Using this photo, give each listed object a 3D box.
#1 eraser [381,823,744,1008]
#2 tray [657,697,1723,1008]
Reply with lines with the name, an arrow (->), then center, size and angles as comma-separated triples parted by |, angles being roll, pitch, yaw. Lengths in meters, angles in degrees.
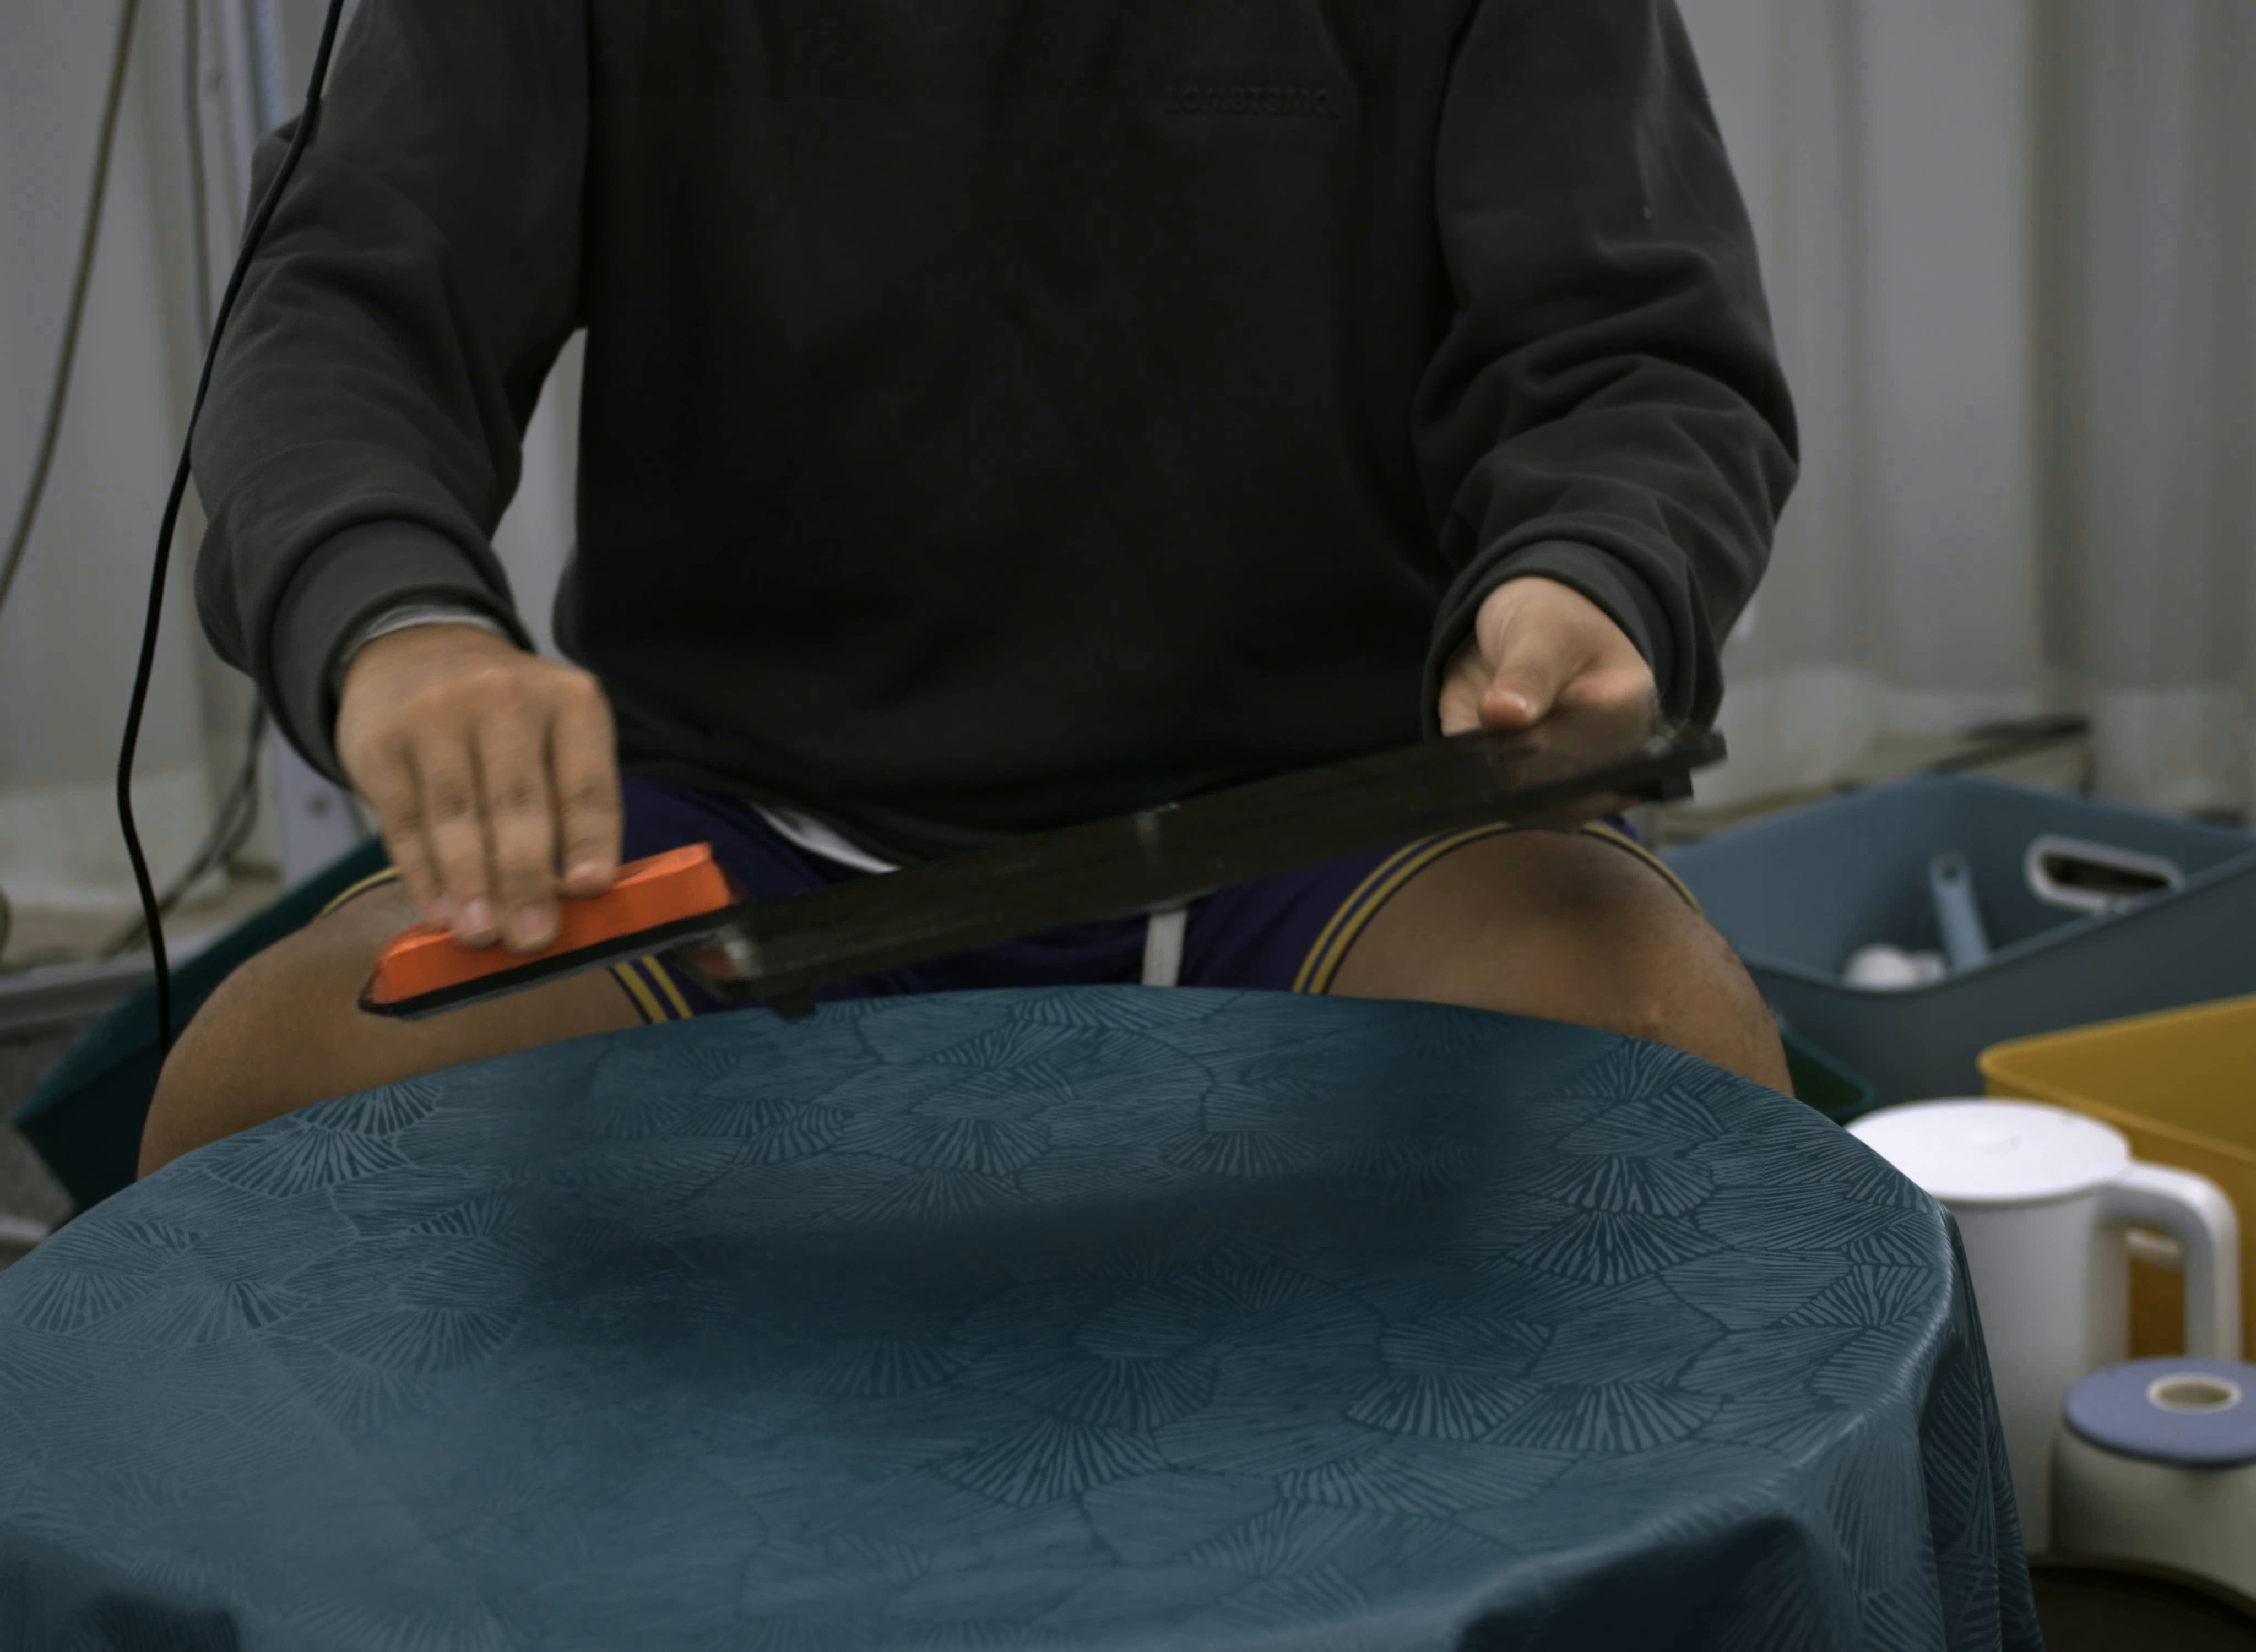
eraser -> -0.172, 0.027, 1.658 | 0.108, 0.023, 0.059 | -18, 7, -6
tray -> 0.015, 0.007, 1.641 | 0.305, 0.018, 0.170 | -14, 6, -10
